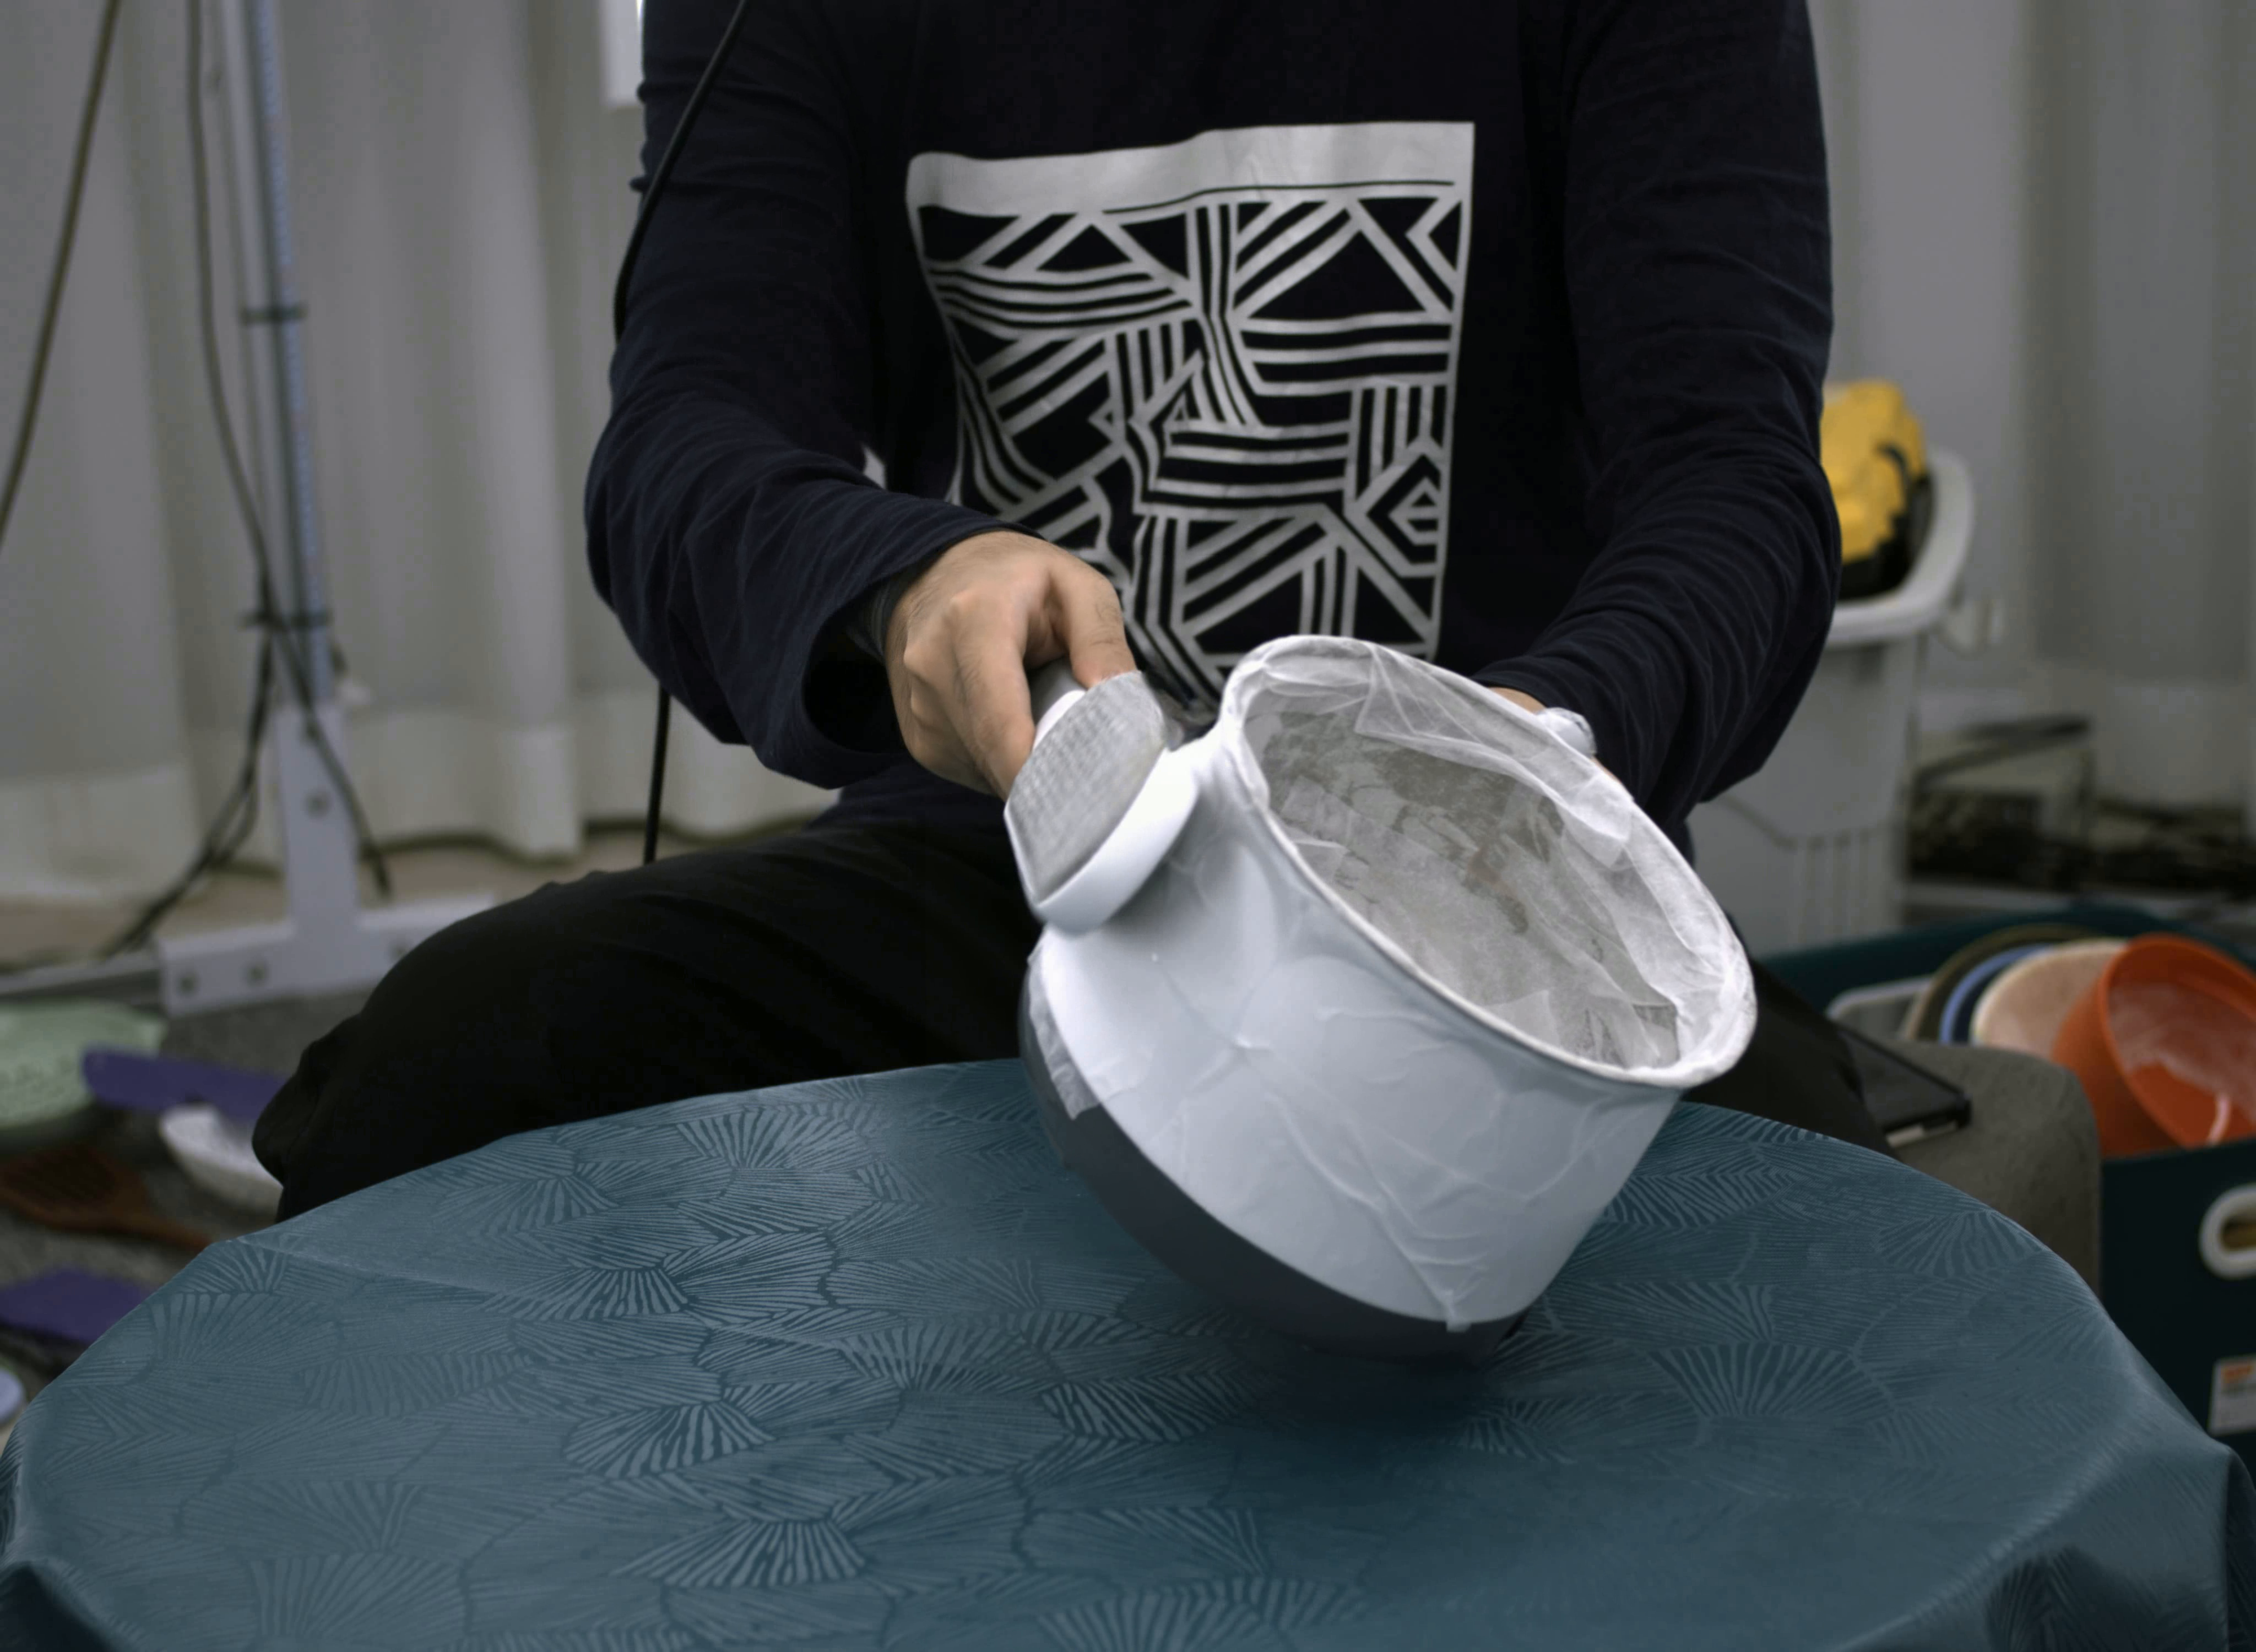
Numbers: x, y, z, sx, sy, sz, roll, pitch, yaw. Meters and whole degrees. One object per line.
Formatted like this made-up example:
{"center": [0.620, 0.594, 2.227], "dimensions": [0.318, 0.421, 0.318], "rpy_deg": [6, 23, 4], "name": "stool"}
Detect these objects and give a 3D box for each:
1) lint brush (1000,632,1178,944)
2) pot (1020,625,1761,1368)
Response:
{"center": [-0.015, -0.021, 1.594], "dimensions": [0.021, 0.060, 0.310], "rpy_deg": [34, 7, -10], "name": "lint brush"}
{"center": [0.076, 0.040, 1.562], "dimensions": [0.178, 0.136, 0.235], "rpy_deg": [38, 28, -1], "name": "pot"}
